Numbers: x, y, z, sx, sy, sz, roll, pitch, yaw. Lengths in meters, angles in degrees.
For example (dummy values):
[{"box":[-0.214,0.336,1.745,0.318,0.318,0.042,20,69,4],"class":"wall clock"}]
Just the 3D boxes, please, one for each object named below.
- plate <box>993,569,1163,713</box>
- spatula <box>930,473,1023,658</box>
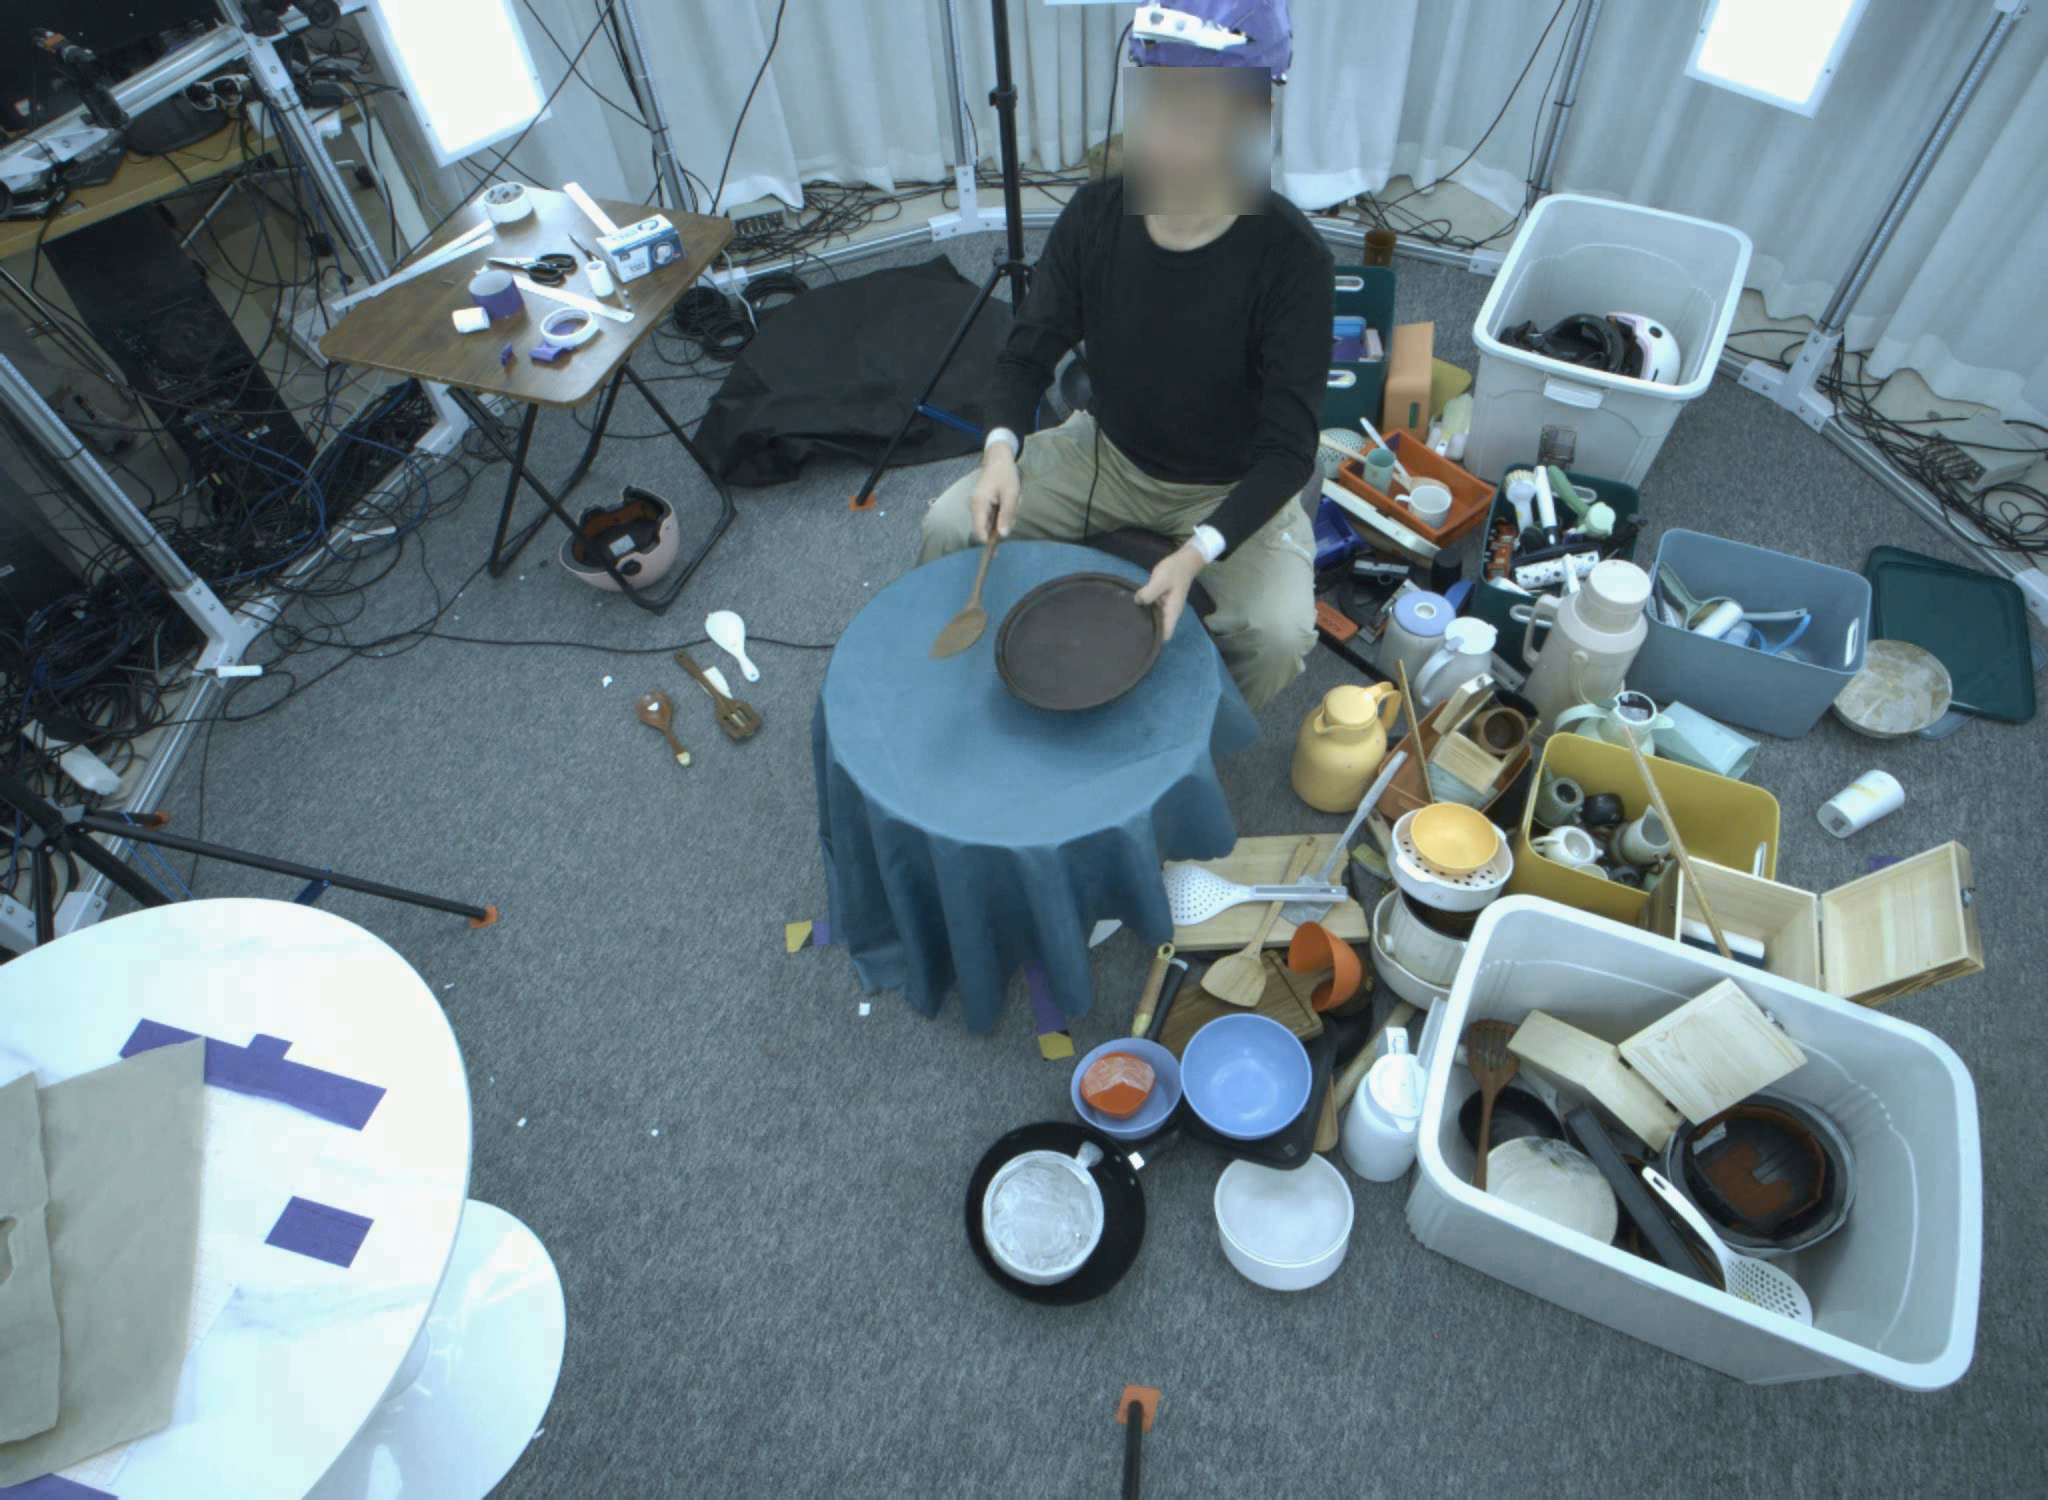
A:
[{"box":[0.079,-0.161,1.800,0.253,0.029,0.252,-6,59,11],"class":"plate"},{"box":[-0.056,-0.285,1.814,0.094,0.016,0.384,-13,47,36],"class":"spatula"}]
